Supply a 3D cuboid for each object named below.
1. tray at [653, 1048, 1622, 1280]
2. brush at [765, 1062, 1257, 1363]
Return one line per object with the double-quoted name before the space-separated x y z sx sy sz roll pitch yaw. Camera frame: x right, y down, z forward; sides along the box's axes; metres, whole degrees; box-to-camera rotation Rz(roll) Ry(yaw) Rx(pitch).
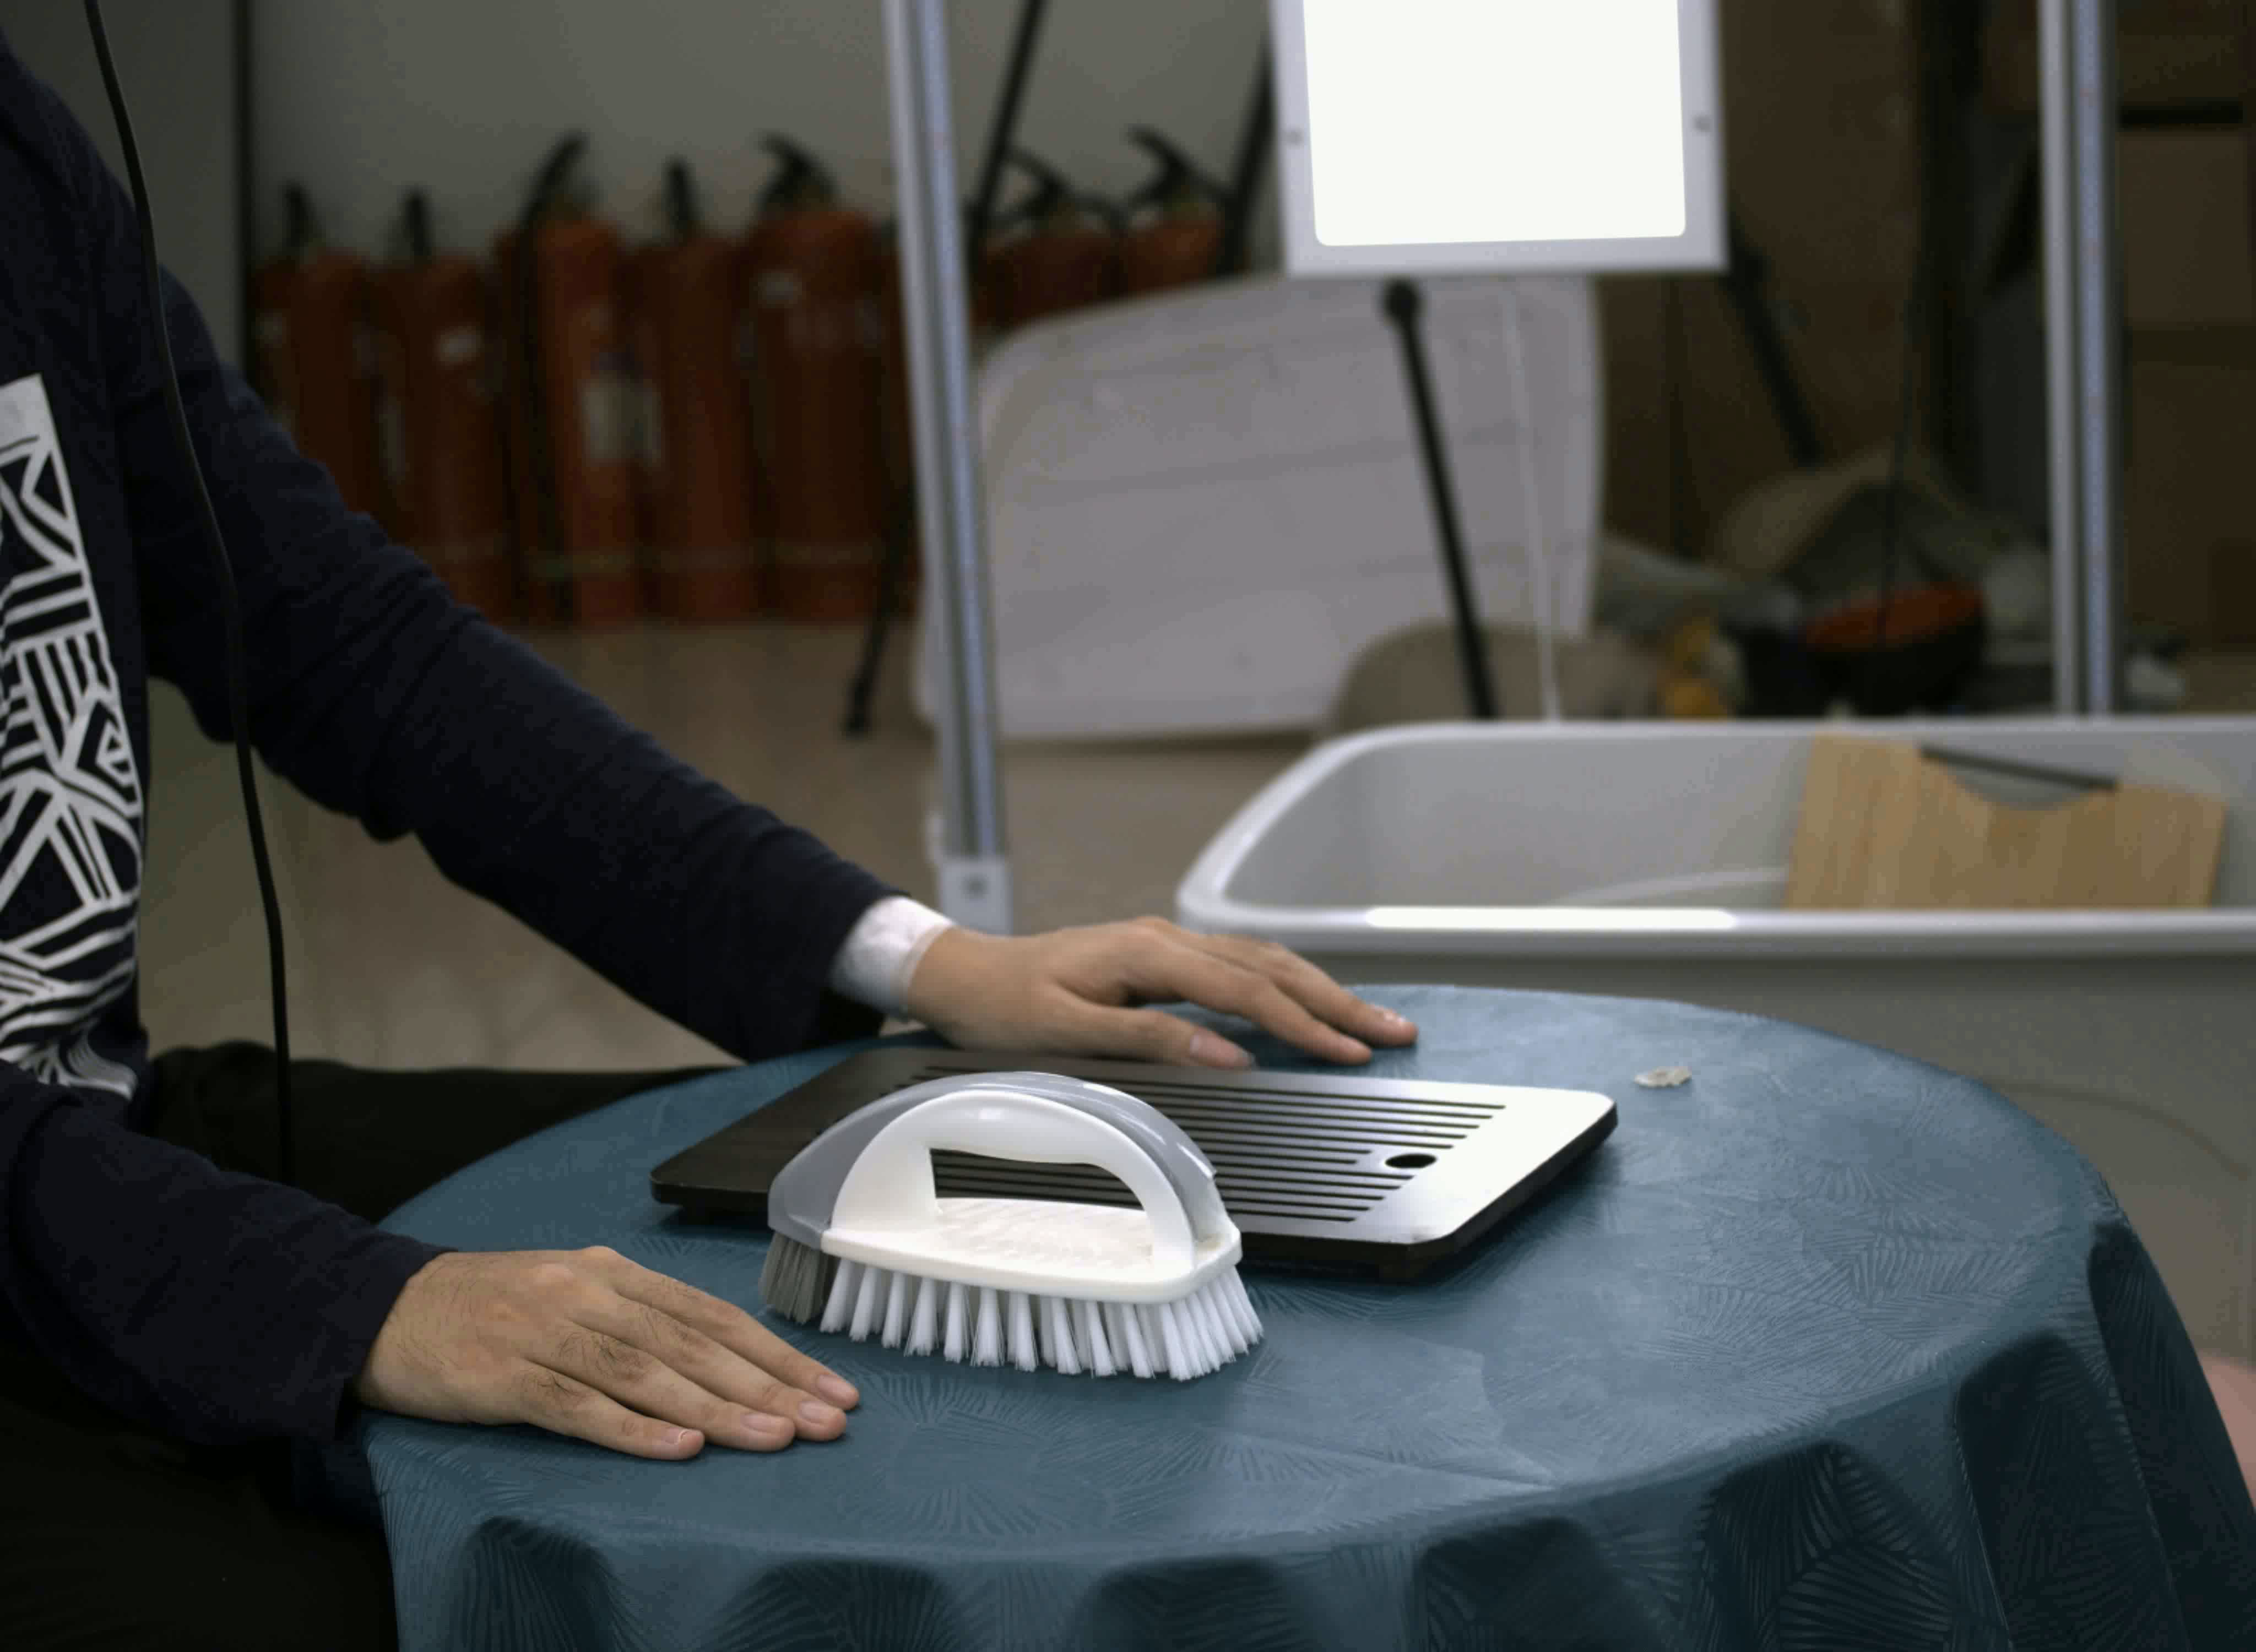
"tray" 0.004 0.115 1.908 0.311 0.019 0.166 2 15 29
"brush" -0.047 0.121 1.748 0.179 0.094 0.060 2 15 33
